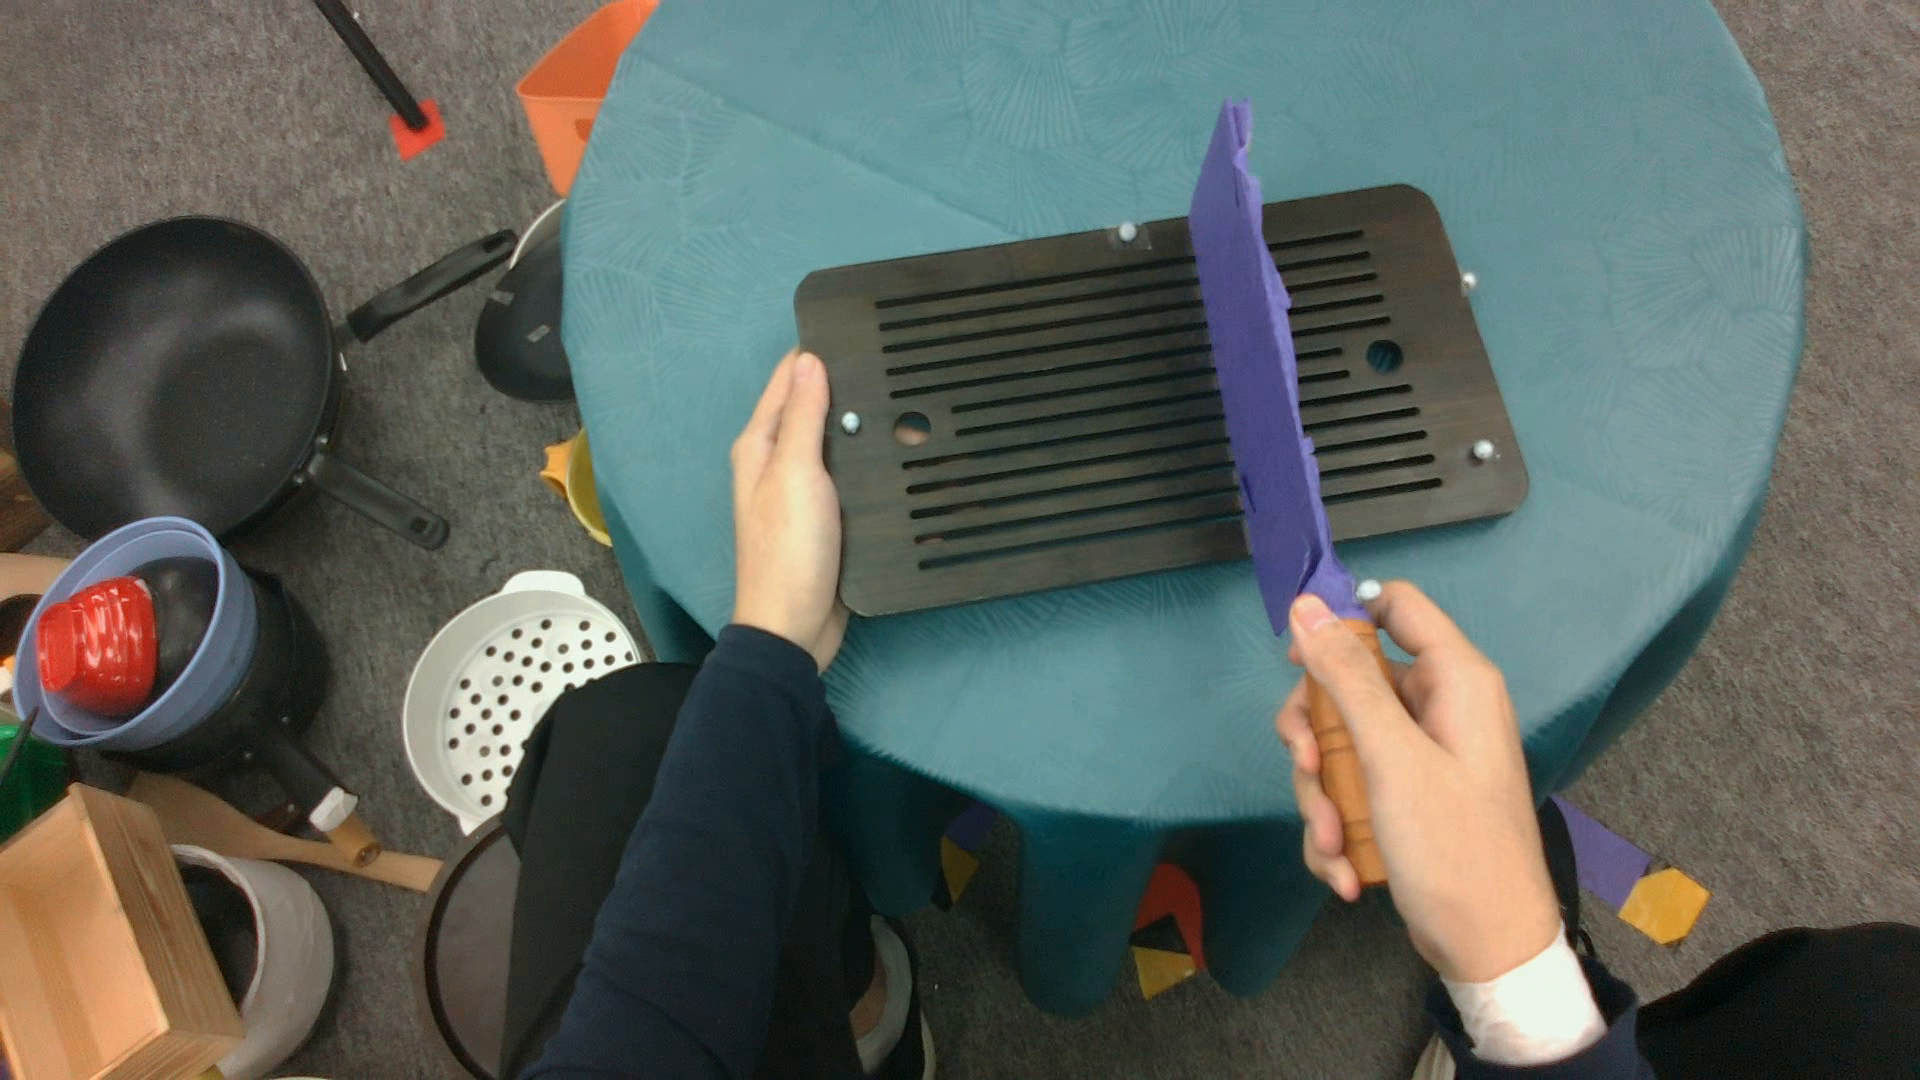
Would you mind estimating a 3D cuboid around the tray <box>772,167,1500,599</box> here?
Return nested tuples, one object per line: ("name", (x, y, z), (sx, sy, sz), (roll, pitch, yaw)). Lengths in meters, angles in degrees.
("tray", (0.076, -0.075, 0.623), (0.306, 0.018, 0.170), (-9, 70, -6))

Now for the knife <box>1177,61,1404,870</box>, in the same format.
("knife", (0.123, -0.029, 0.545), (0.032, 0.103, 0.316), (-4, 72, -2))
